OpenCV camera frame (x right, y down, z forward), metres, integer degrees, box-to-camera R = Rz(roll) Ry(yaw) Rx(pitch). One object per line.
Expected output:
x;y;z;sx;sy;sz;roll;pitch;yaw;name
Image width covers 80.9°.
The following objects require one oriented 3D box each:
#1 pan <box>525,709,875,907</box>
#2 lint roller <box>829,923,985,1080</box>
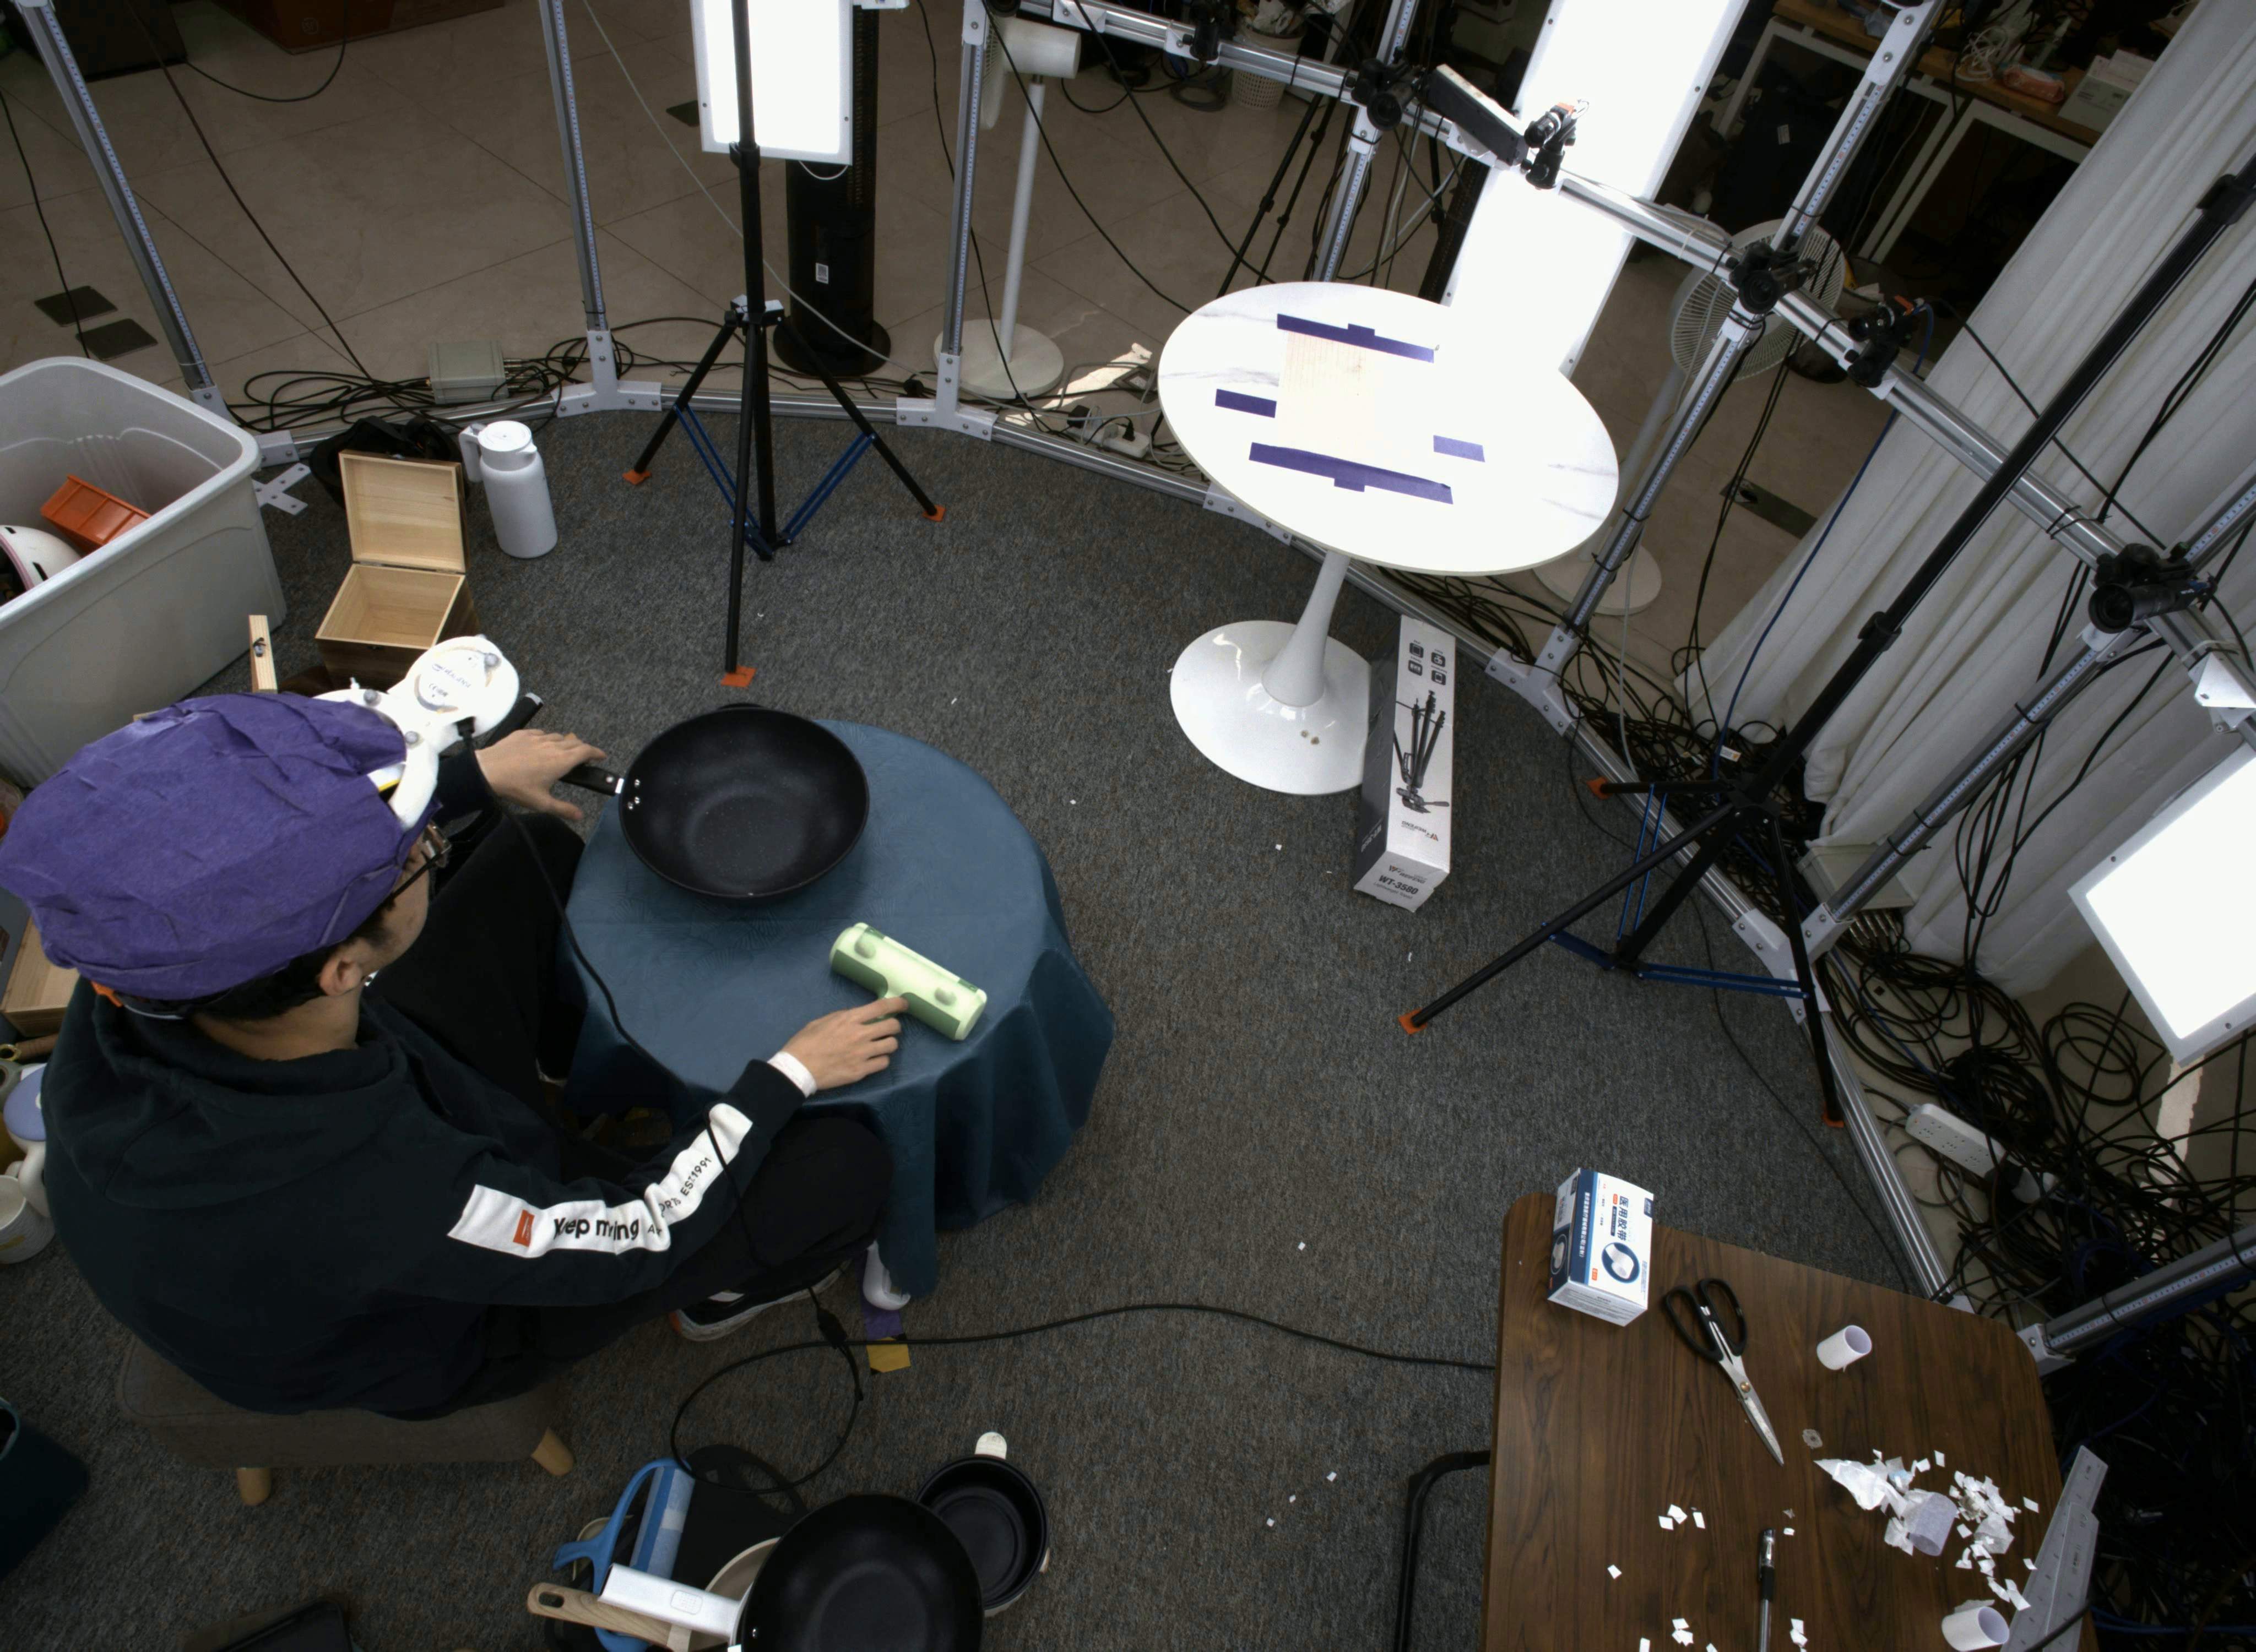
-0.564;-0.029;1.645;0.477;0.114;0.304;7;51;-10;pan
-0.296;0.217;1.555;0.196;0.084;0.182;29;47;8;lint roller
